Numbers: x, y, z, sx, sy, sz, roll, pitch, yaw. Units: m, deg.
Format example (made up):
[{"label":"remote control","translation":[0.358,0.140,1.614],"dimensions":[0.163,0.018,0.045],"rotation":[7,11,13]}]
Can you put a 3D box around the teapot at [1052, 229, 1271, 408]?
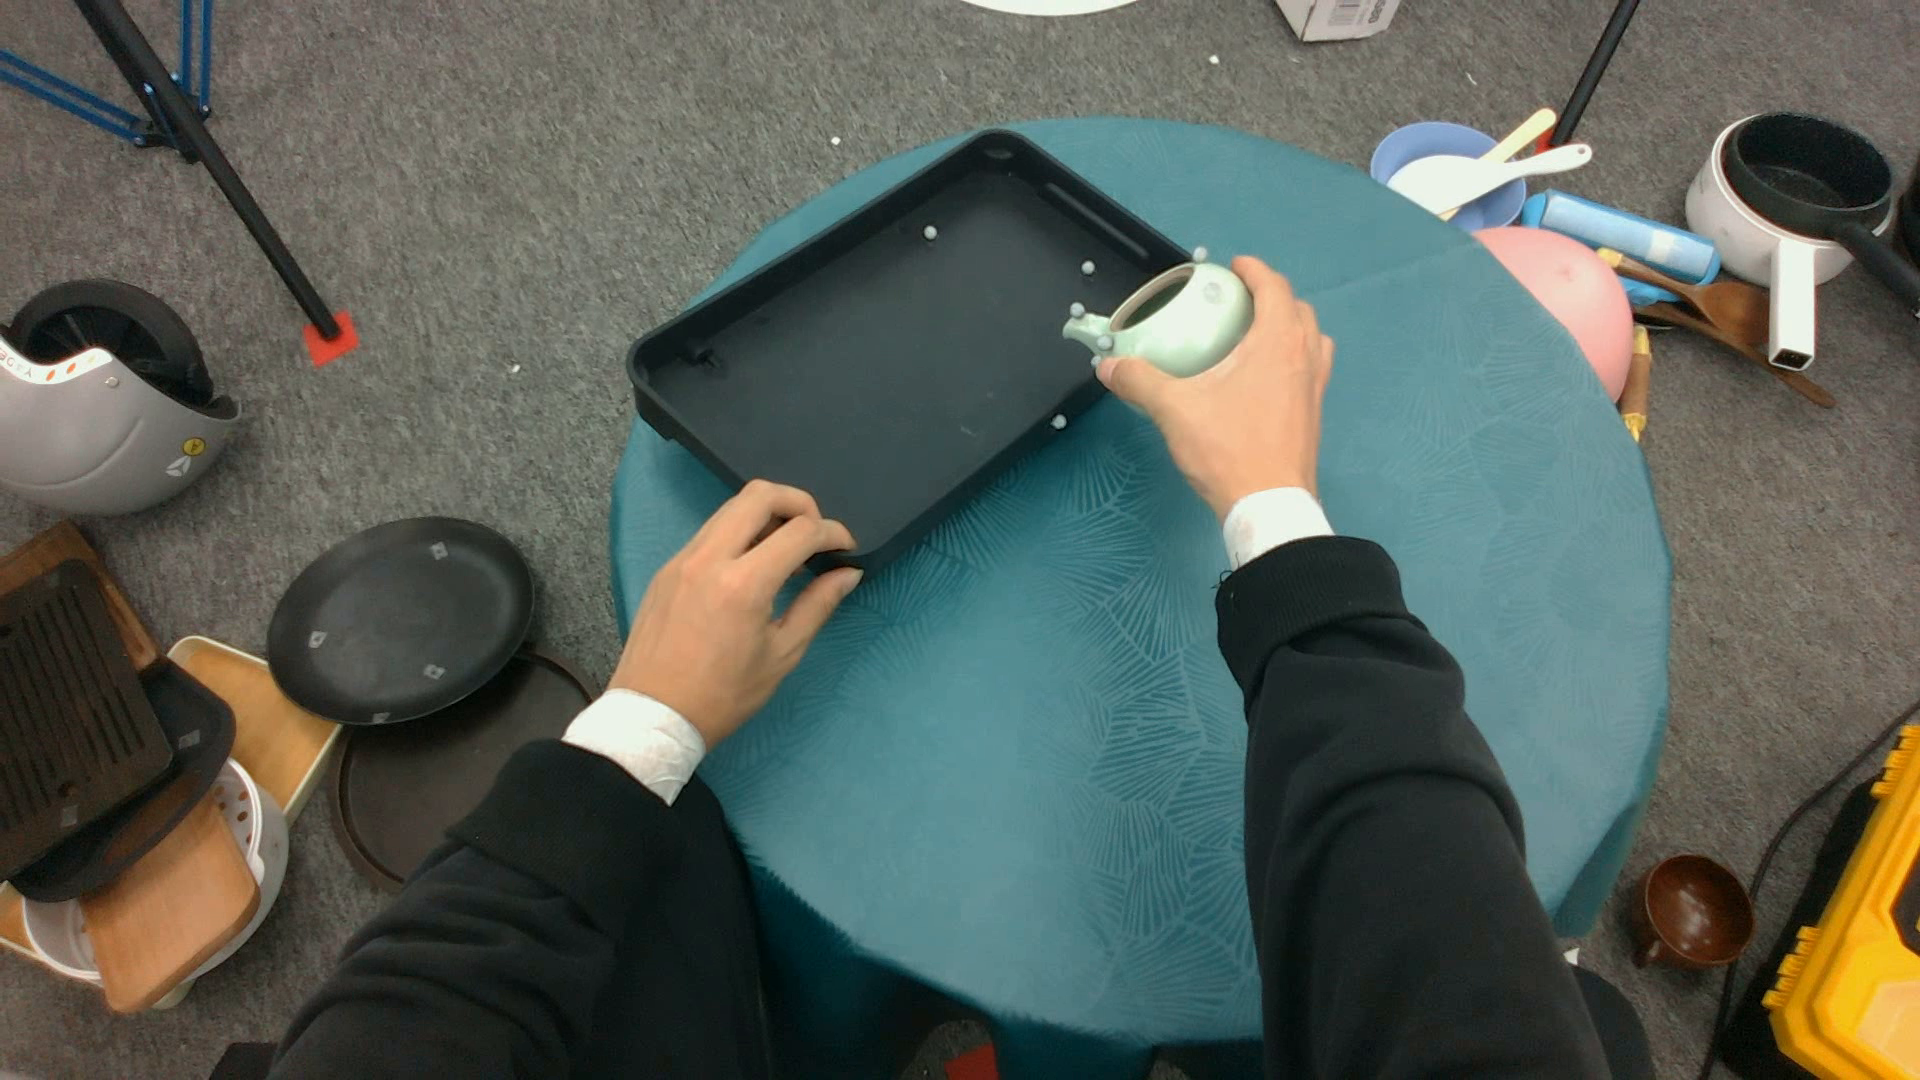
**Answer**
[{"label":"teapot","translation":[0.112,-0.112,0.725],"dimensions":[0.074,0.143,0.089],"rotation":[48,61,-17]}]

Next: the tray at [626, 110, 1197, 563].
[{"label":"tray","translation":[-0.018,-0.131,0.798],"dimensions":[0.184,0.037,0.319],"rotation":[38,58,17]}]
